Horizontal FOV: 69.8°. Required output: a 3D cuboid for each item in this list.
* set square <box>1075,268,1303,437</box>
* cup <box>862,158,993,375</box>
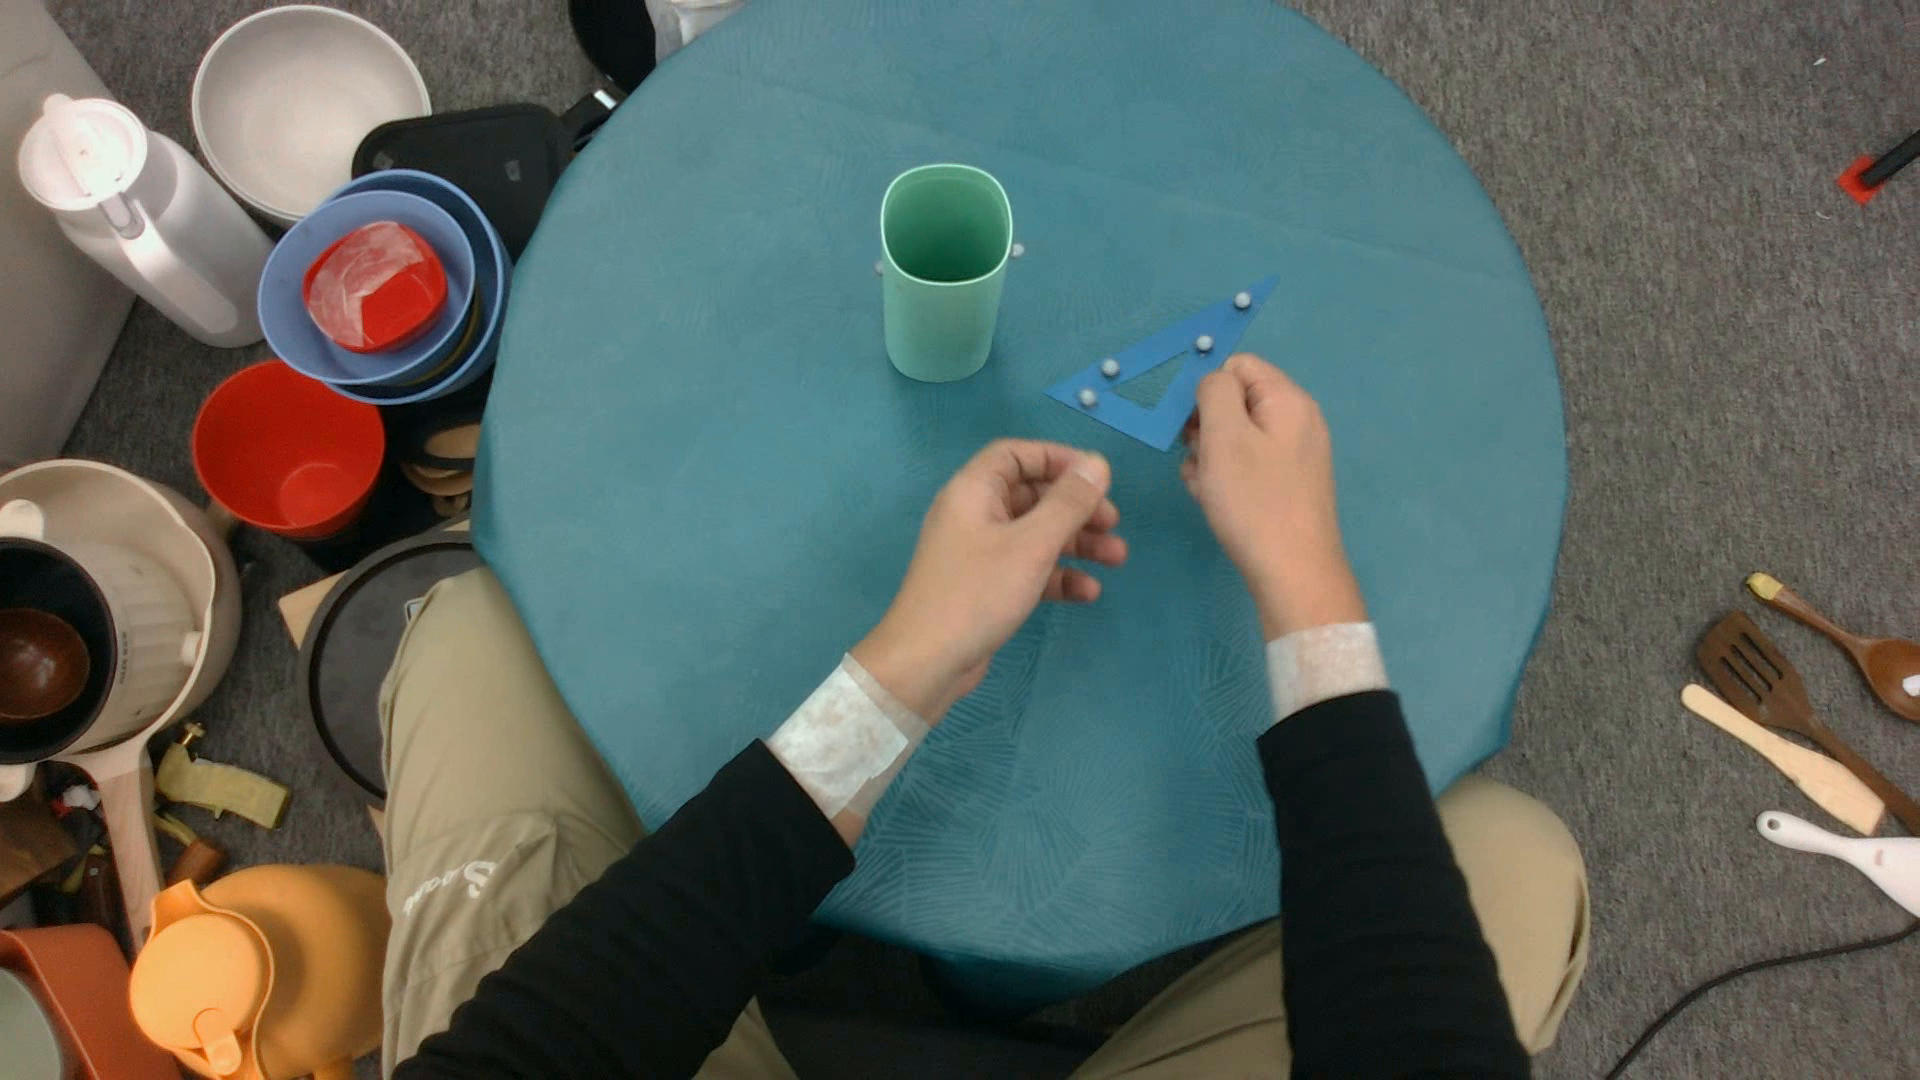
[{"bbox_3d":[0.128,-0.092,0.701,0.132,0.006,0.061,-29,61,-4],"label":"set square"},{"bbox_3d":[-0.020,-0.137,0.717,0.067,0.132,0.067,1,75,-4],"label":"cup"}]
